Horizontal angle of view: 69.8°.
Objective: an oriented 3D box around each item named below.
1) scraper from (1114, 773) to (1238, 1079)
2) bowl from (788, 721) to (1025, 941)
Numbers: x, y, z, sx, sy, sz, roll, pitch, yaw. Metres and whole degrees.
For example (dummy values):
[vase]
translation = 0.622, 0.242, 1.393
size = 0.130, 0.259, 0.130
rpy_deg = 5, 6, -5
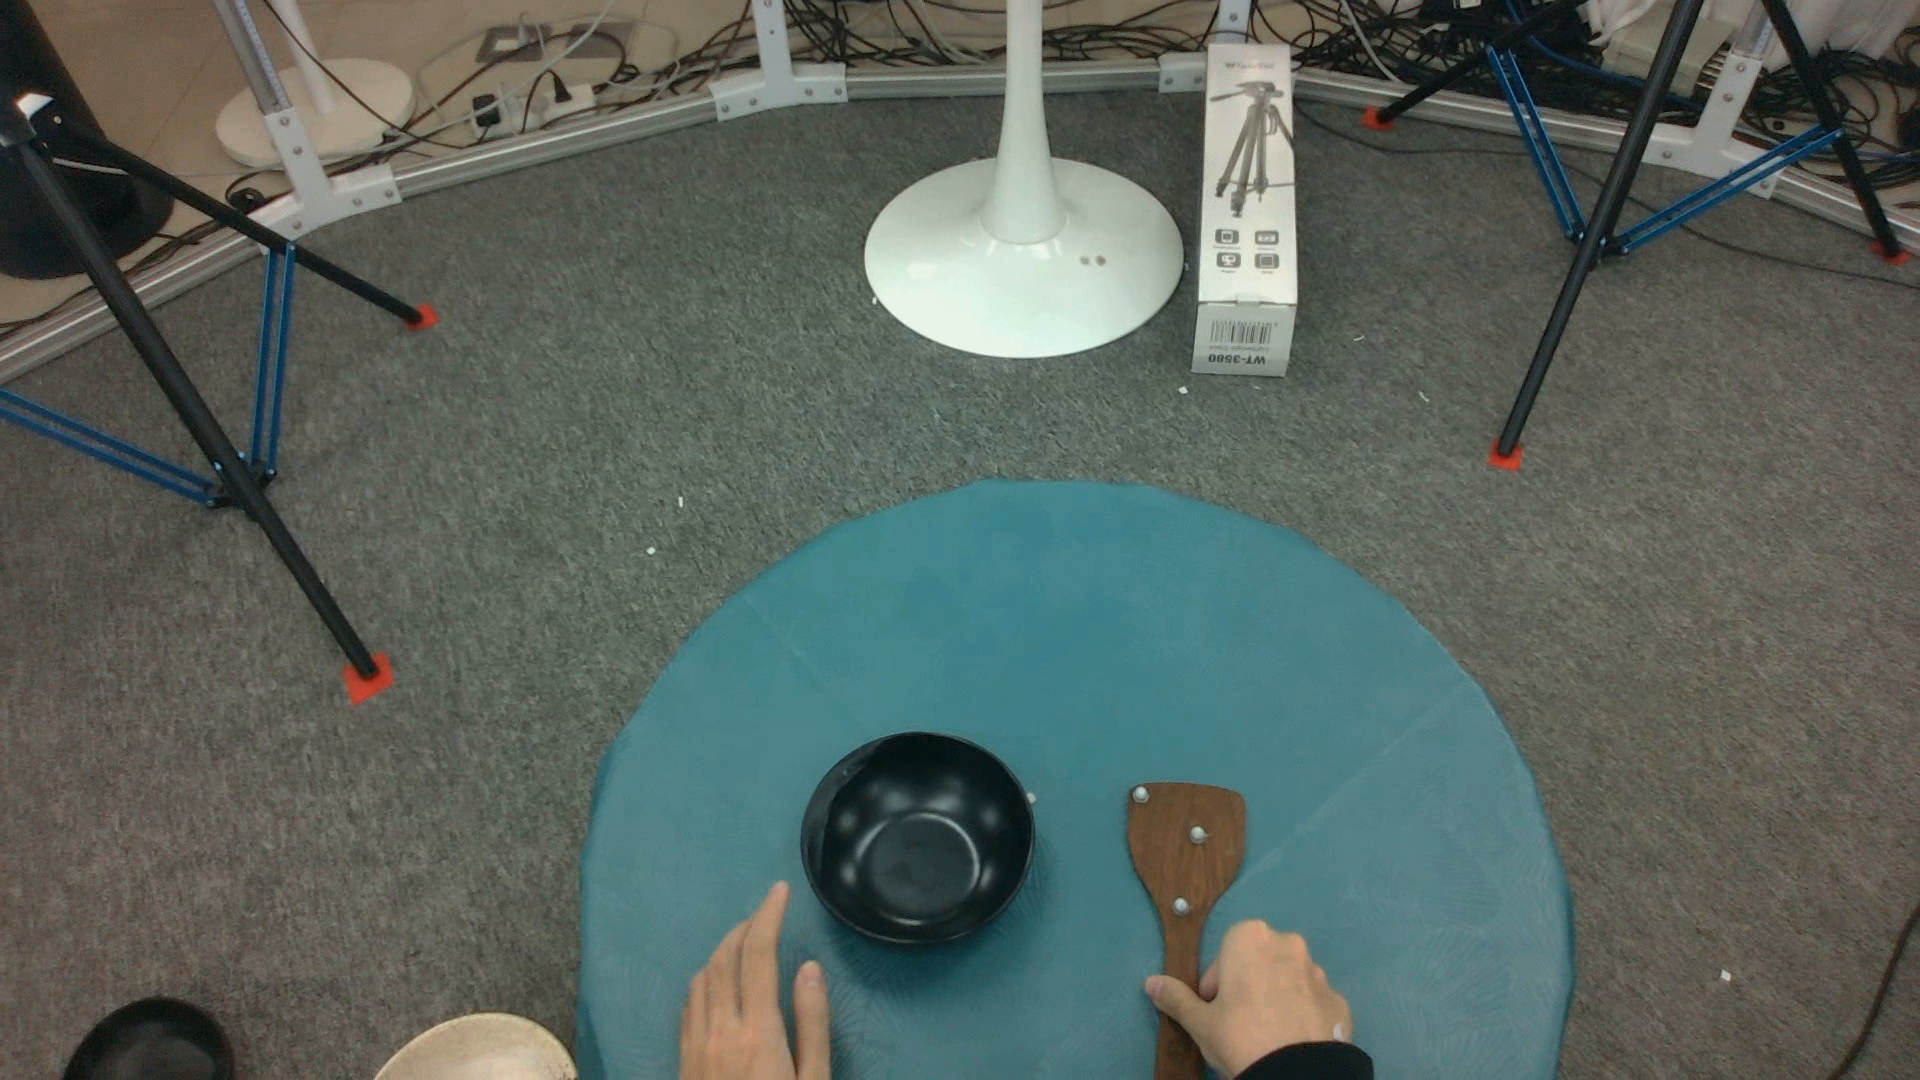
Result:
[scraper]
translation = 0.123, 0.231, 0.803
size = 0.076, 0.011, 0.212
rpy_deg = 4, 50, 7
[bowl]
translation = -0.032, 0.180, 0.823
size = 0.140, 0.049, 0.140
rpy_deg = 1, 50, -2
